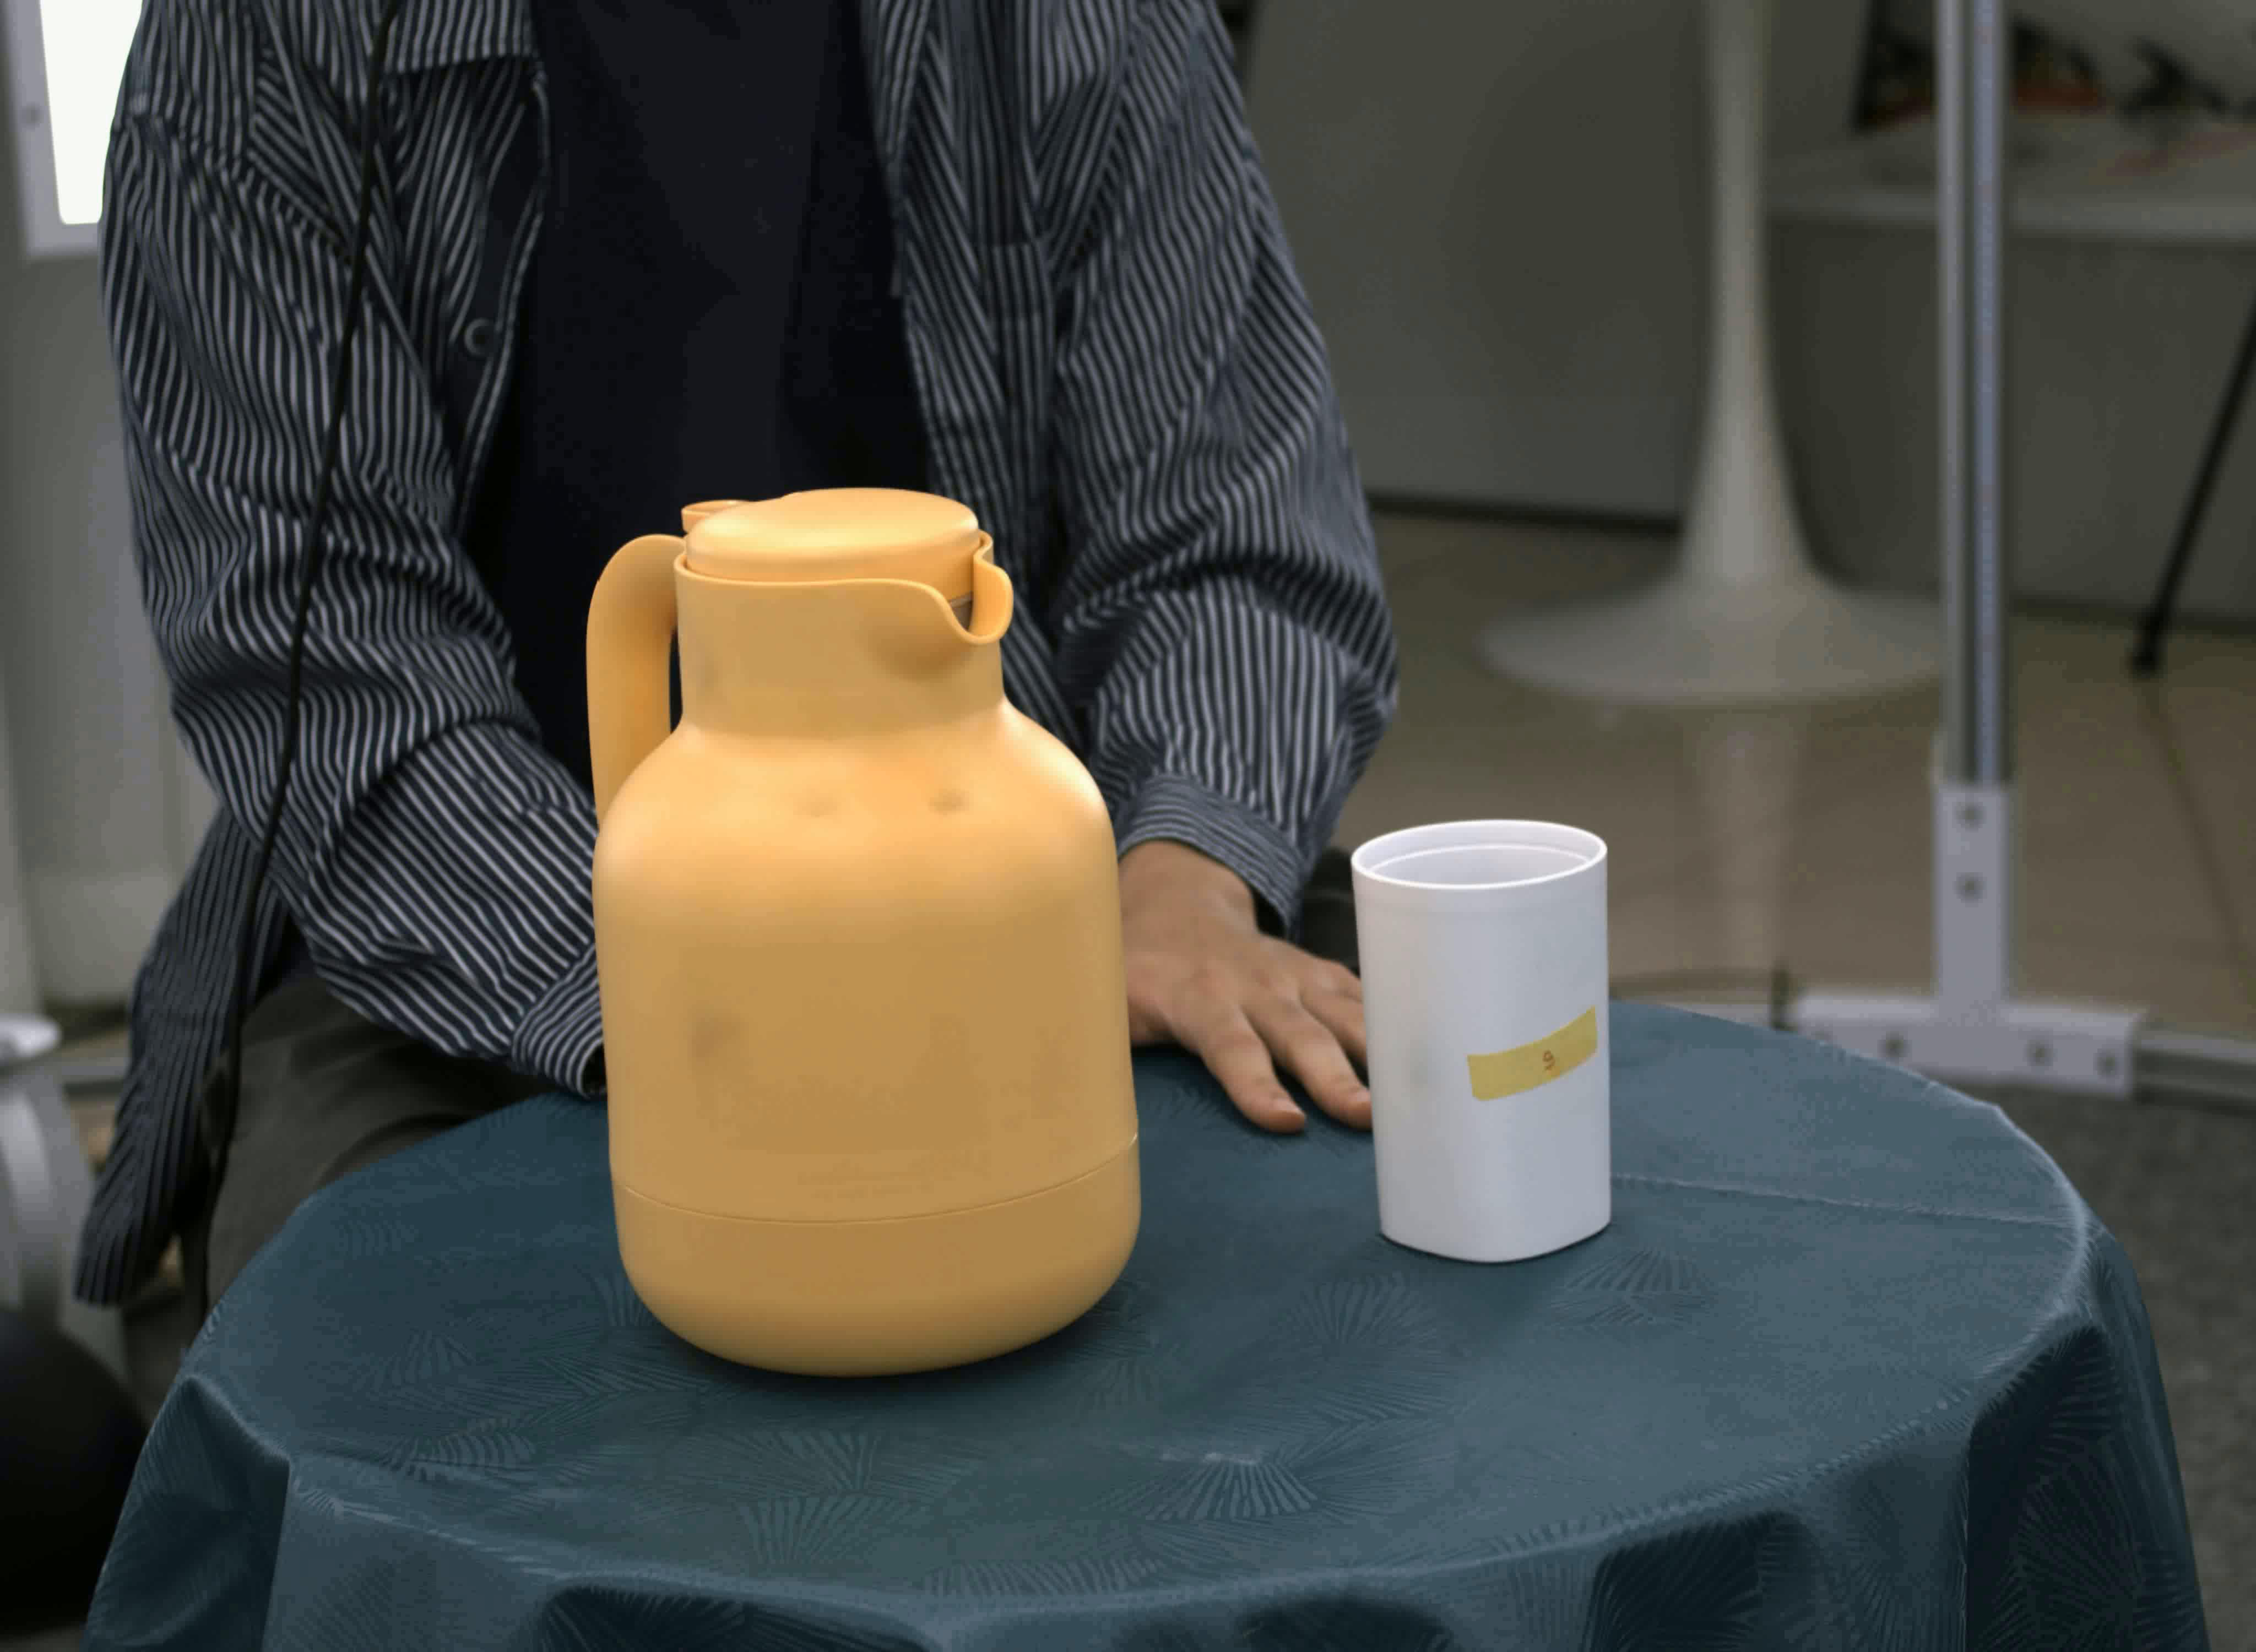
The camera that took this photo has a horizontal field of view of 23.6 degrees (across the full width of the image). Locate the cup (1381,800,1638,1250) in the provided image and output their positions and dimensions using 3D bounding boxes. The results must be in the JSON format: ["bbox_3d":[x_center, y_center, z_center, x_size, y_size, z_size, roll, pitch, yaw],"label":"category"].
[{"bbox_3d":[0.123,0.063,1.697,0.080,0.127,0.082,-4,13,0],"label":"cup"}]

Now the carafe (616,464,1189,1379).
[{"bbox_3d":[-0.079,0.022,1.645,0.160,0.263,0.204,-14,17,-39],"label":"carafe"}]
